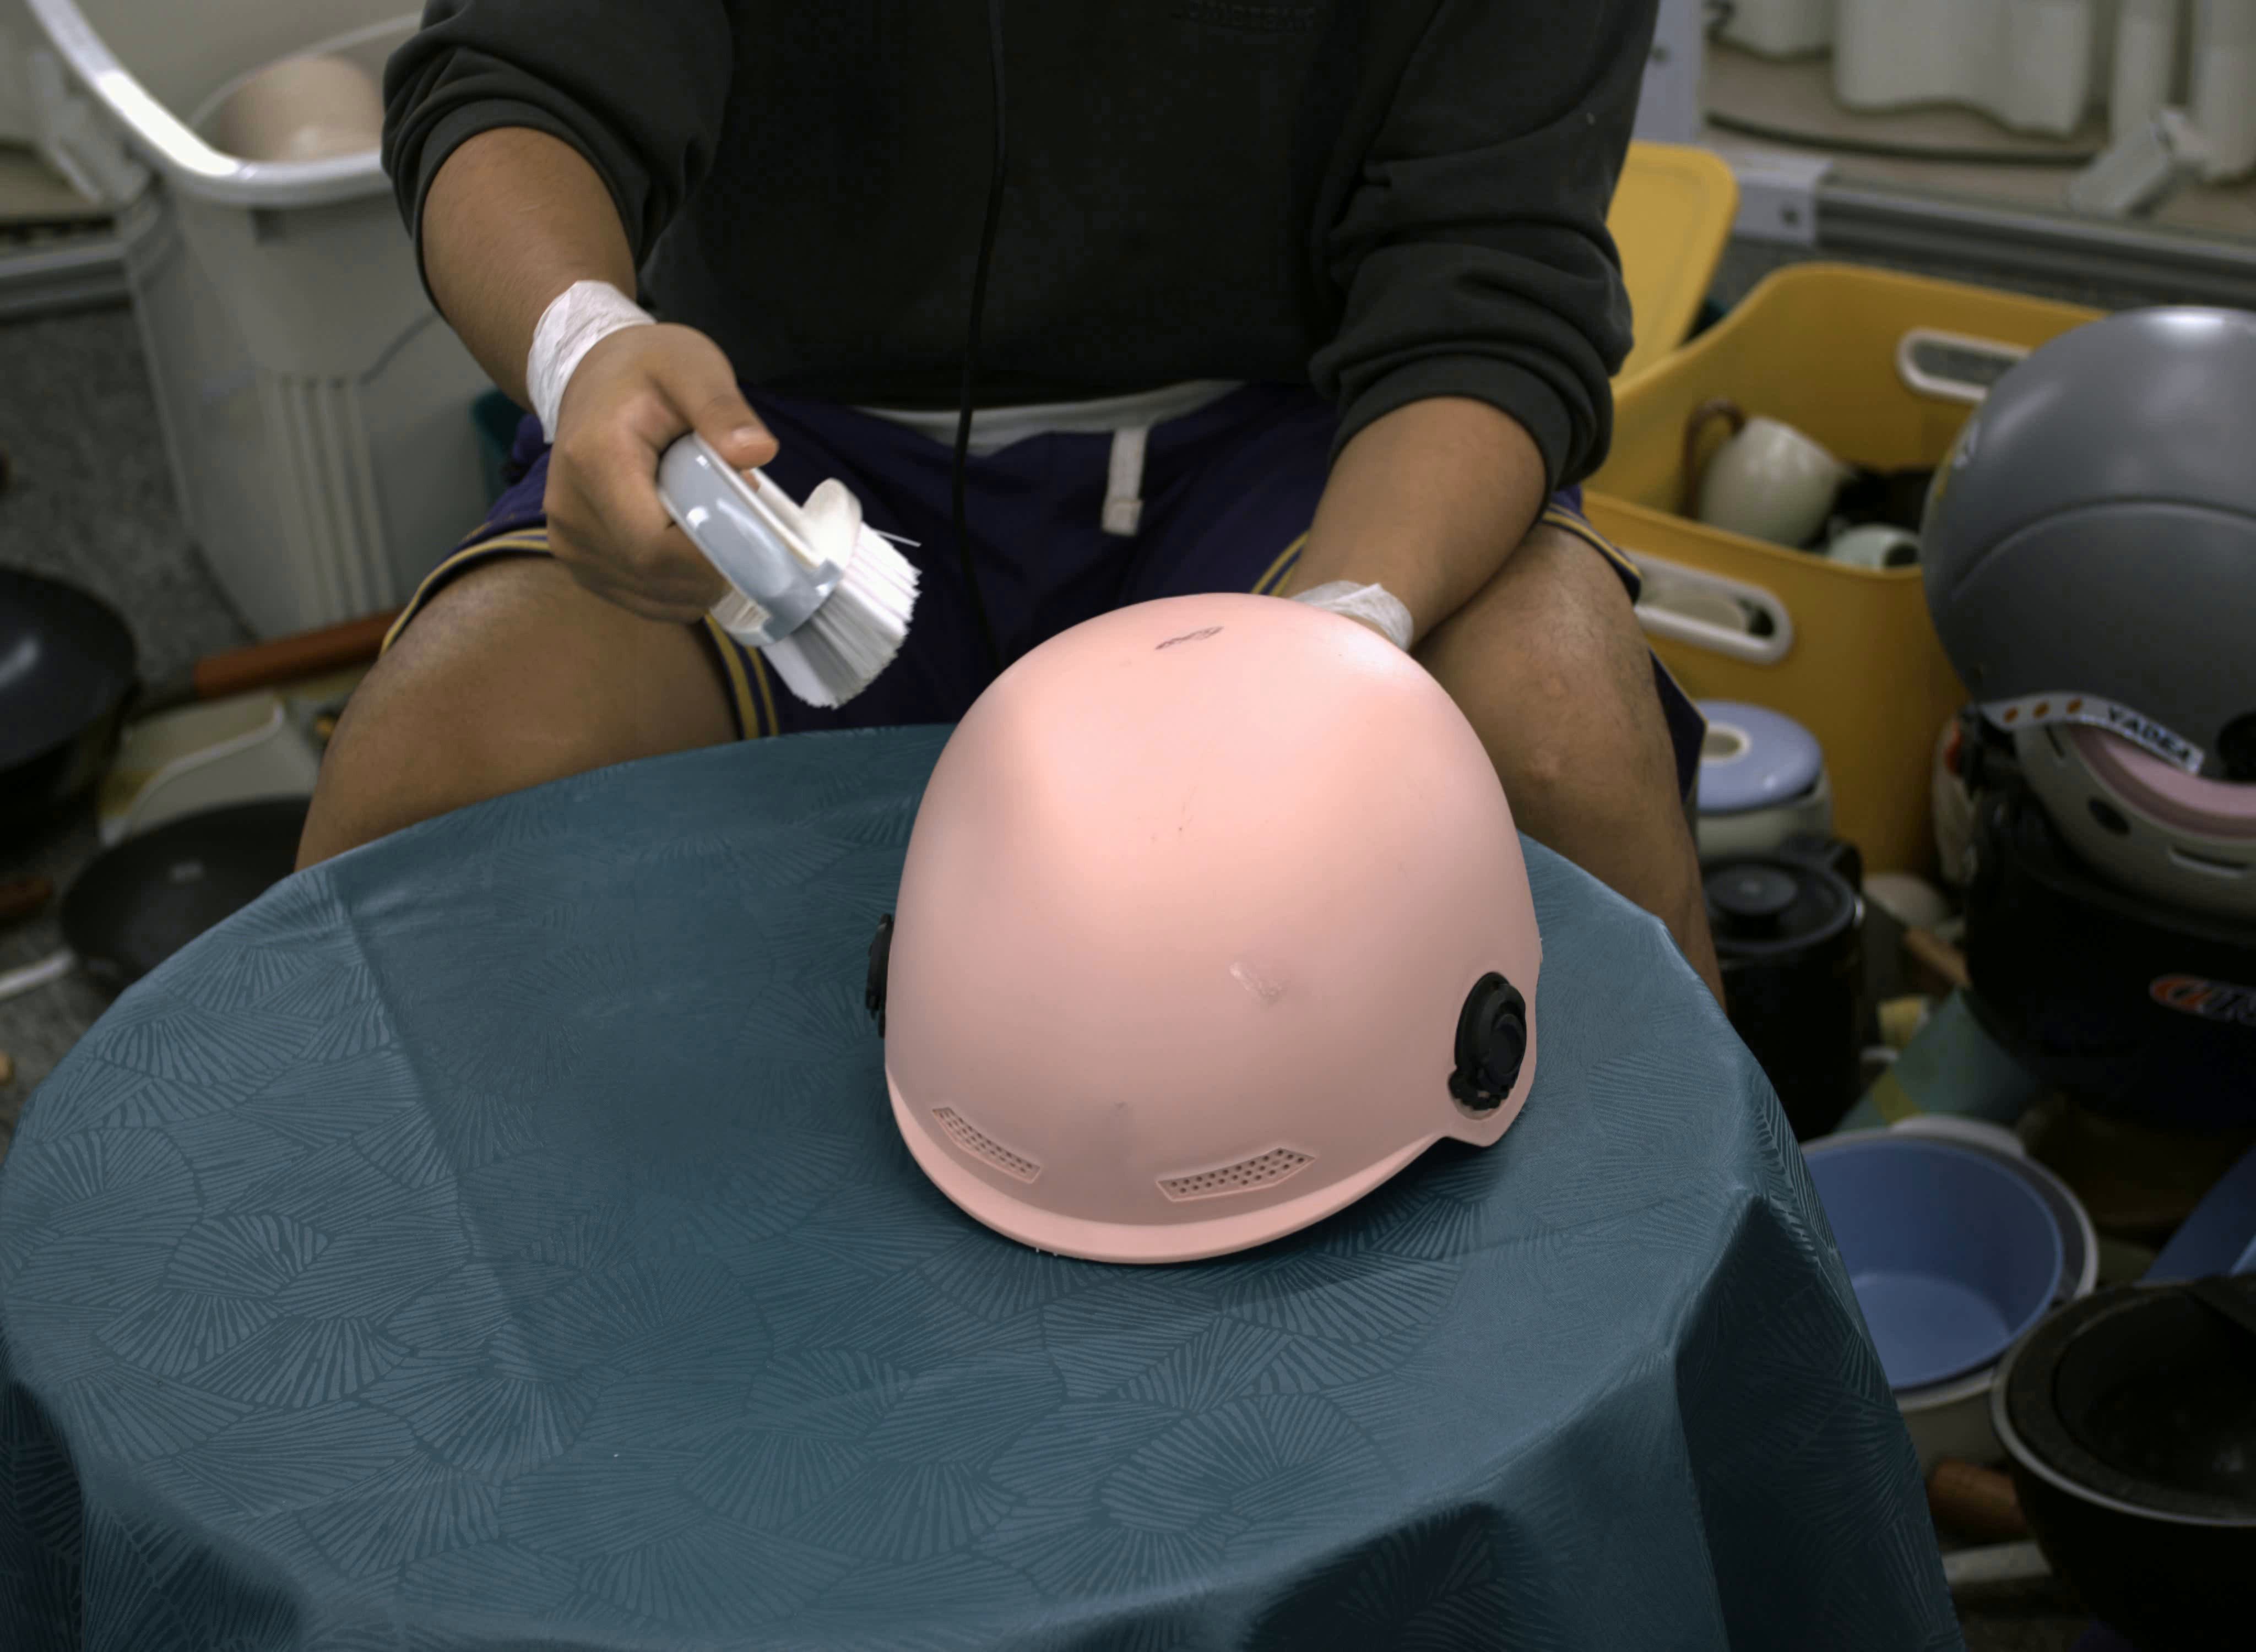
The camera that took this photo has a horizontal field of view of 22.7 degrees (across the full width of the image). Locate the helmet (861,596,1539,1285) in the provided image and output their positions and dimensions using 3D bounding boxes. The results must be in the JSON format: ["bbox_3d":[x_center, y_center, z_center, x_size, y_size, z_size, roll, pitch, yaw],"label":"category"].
[{"bbox_3d":[0.023,0.018,1.895,0.232,0.157,0.271,6,35,16],"label":"helmet"}]

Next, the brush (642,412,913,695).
[{"bbox_3d":[-0.118,-0.094,1.851,0.061,0.094,0.176,-46,14,6],"label":"brush"}]
